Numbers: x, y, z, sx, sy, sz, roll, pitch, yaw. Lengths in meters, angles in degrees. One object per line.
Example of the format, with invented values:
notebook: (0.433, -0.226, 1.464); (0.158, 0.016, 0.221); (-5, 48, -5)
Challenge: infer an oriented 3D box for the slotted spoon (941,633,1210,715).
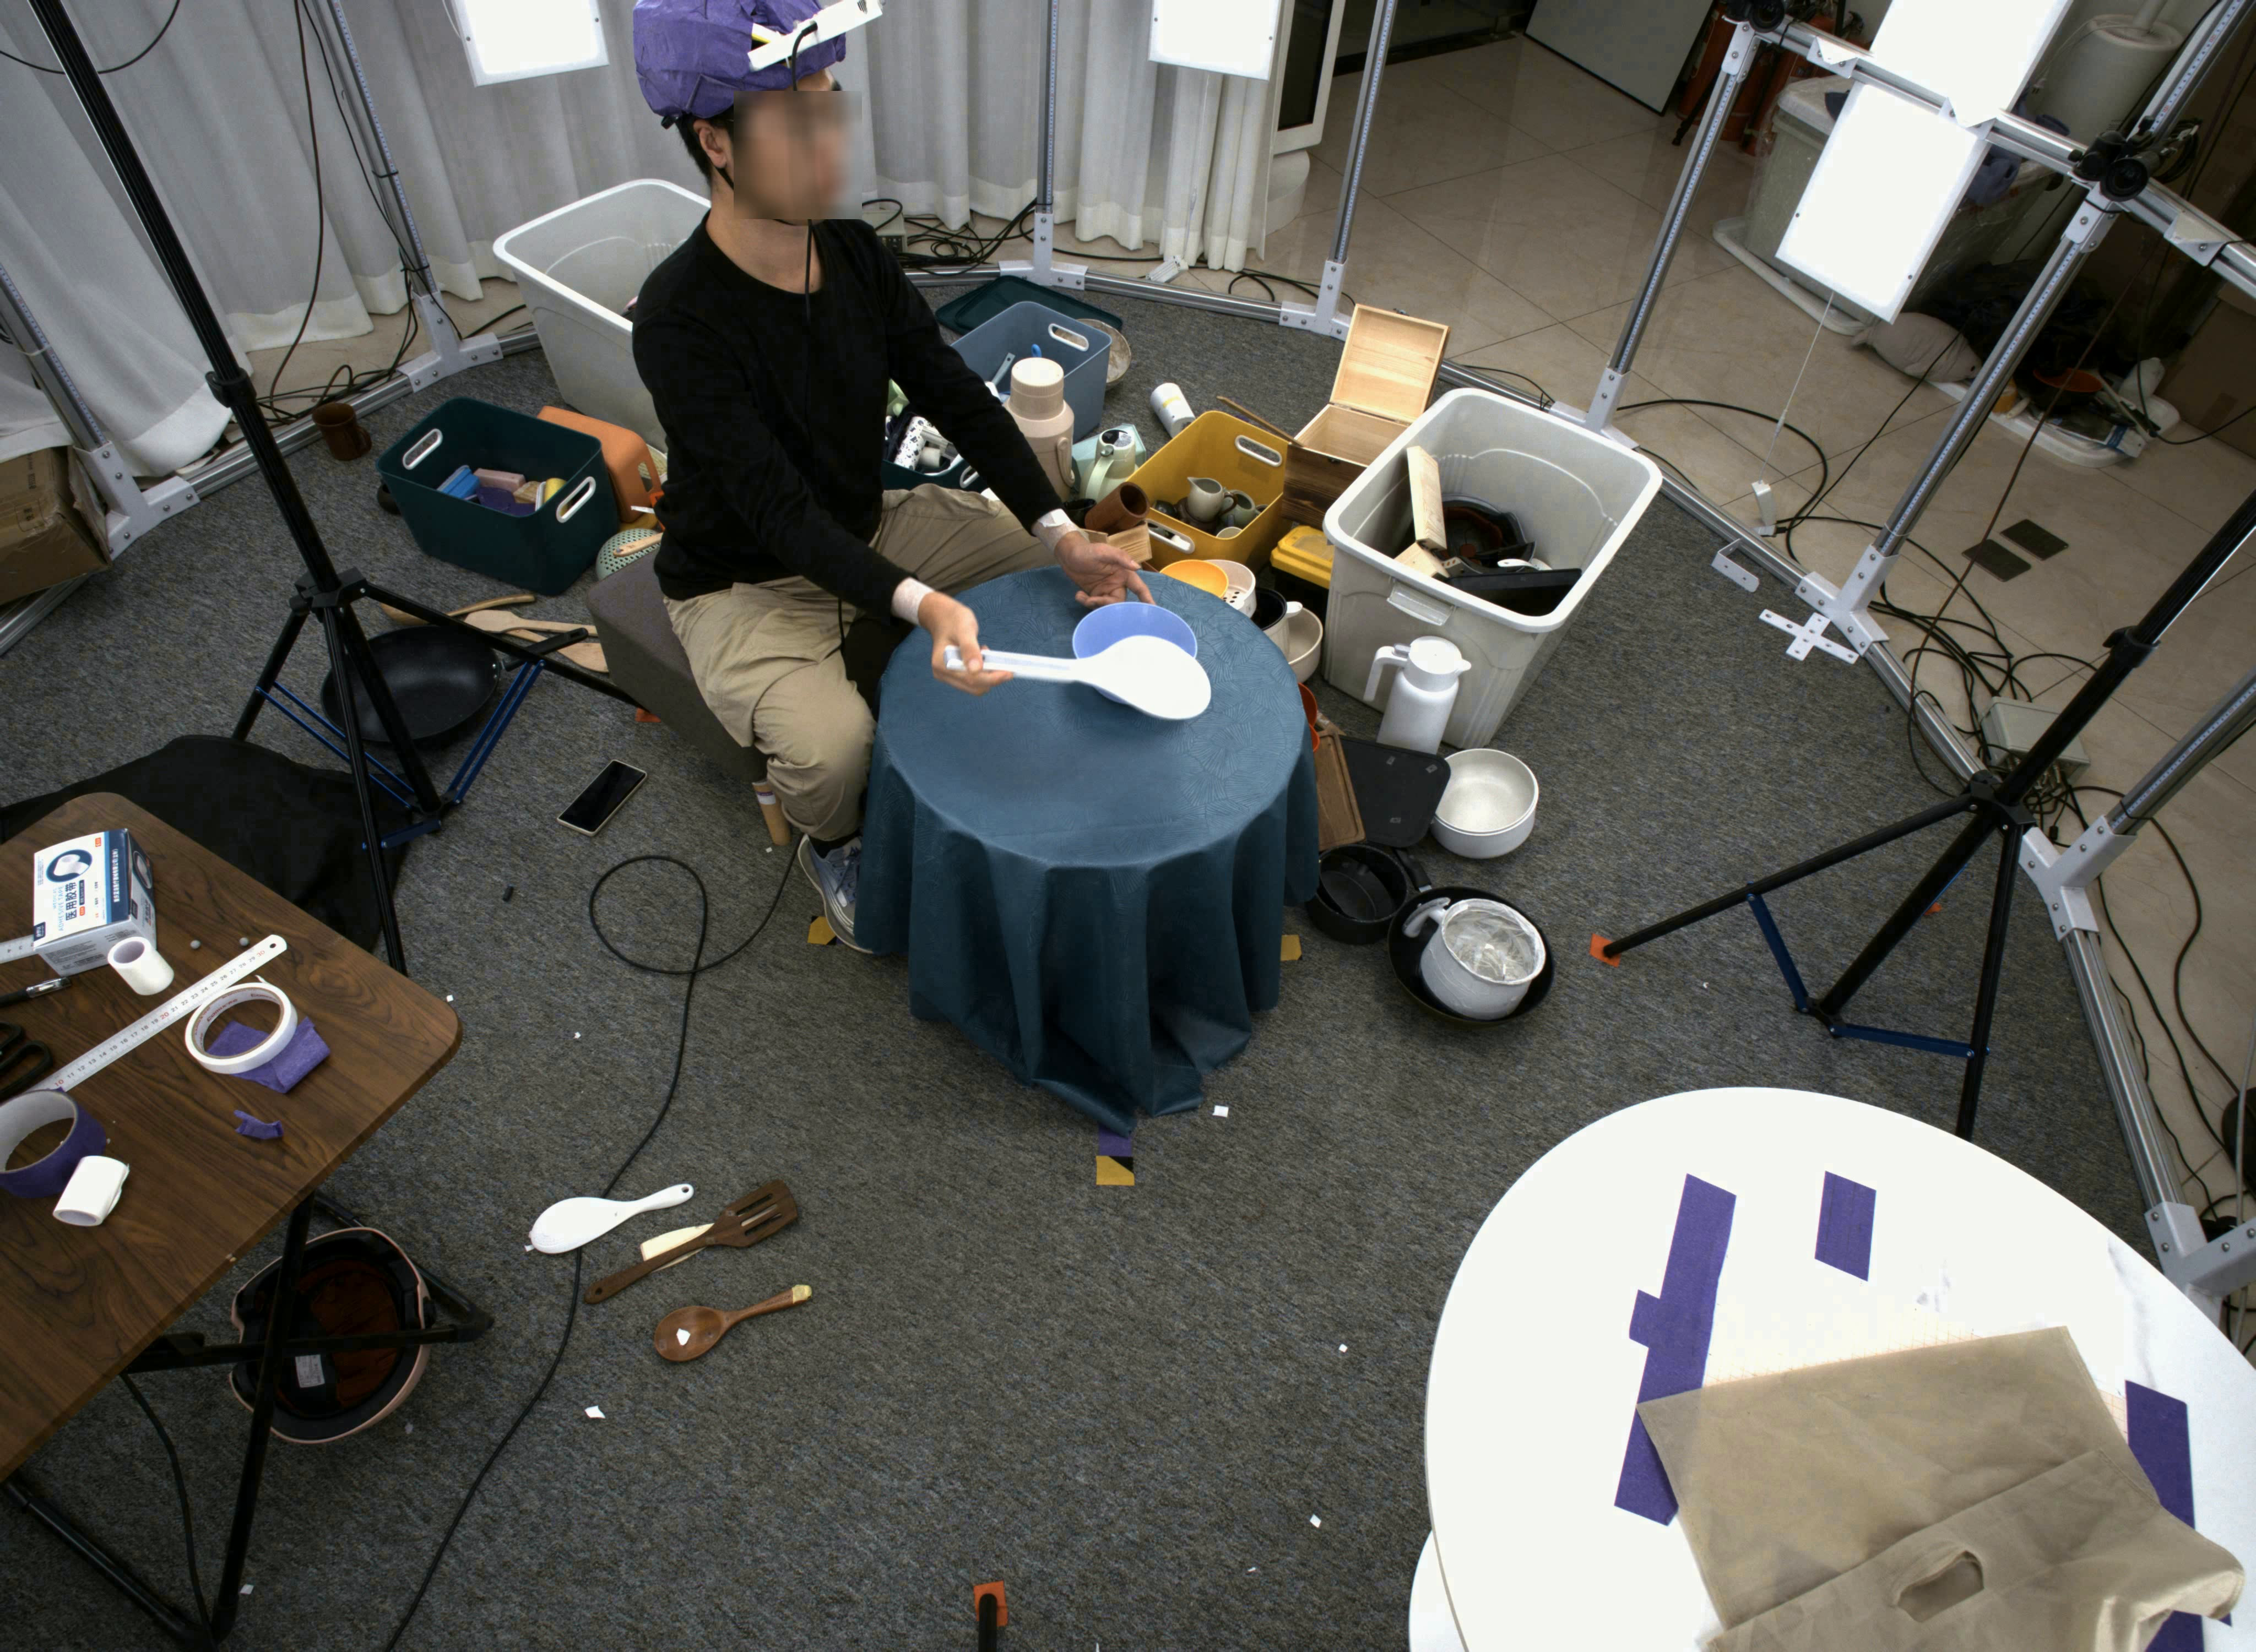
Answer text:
slotted spoon: (-0.058, -0.192, 1.568); (0.347, 0.045, 0.139); (5, 51, -29)

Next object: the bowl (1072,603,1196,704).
bowl: (0.007, -0.238, 1.830); (0.176, 0.068, 0.180); (2, 48, -2)
